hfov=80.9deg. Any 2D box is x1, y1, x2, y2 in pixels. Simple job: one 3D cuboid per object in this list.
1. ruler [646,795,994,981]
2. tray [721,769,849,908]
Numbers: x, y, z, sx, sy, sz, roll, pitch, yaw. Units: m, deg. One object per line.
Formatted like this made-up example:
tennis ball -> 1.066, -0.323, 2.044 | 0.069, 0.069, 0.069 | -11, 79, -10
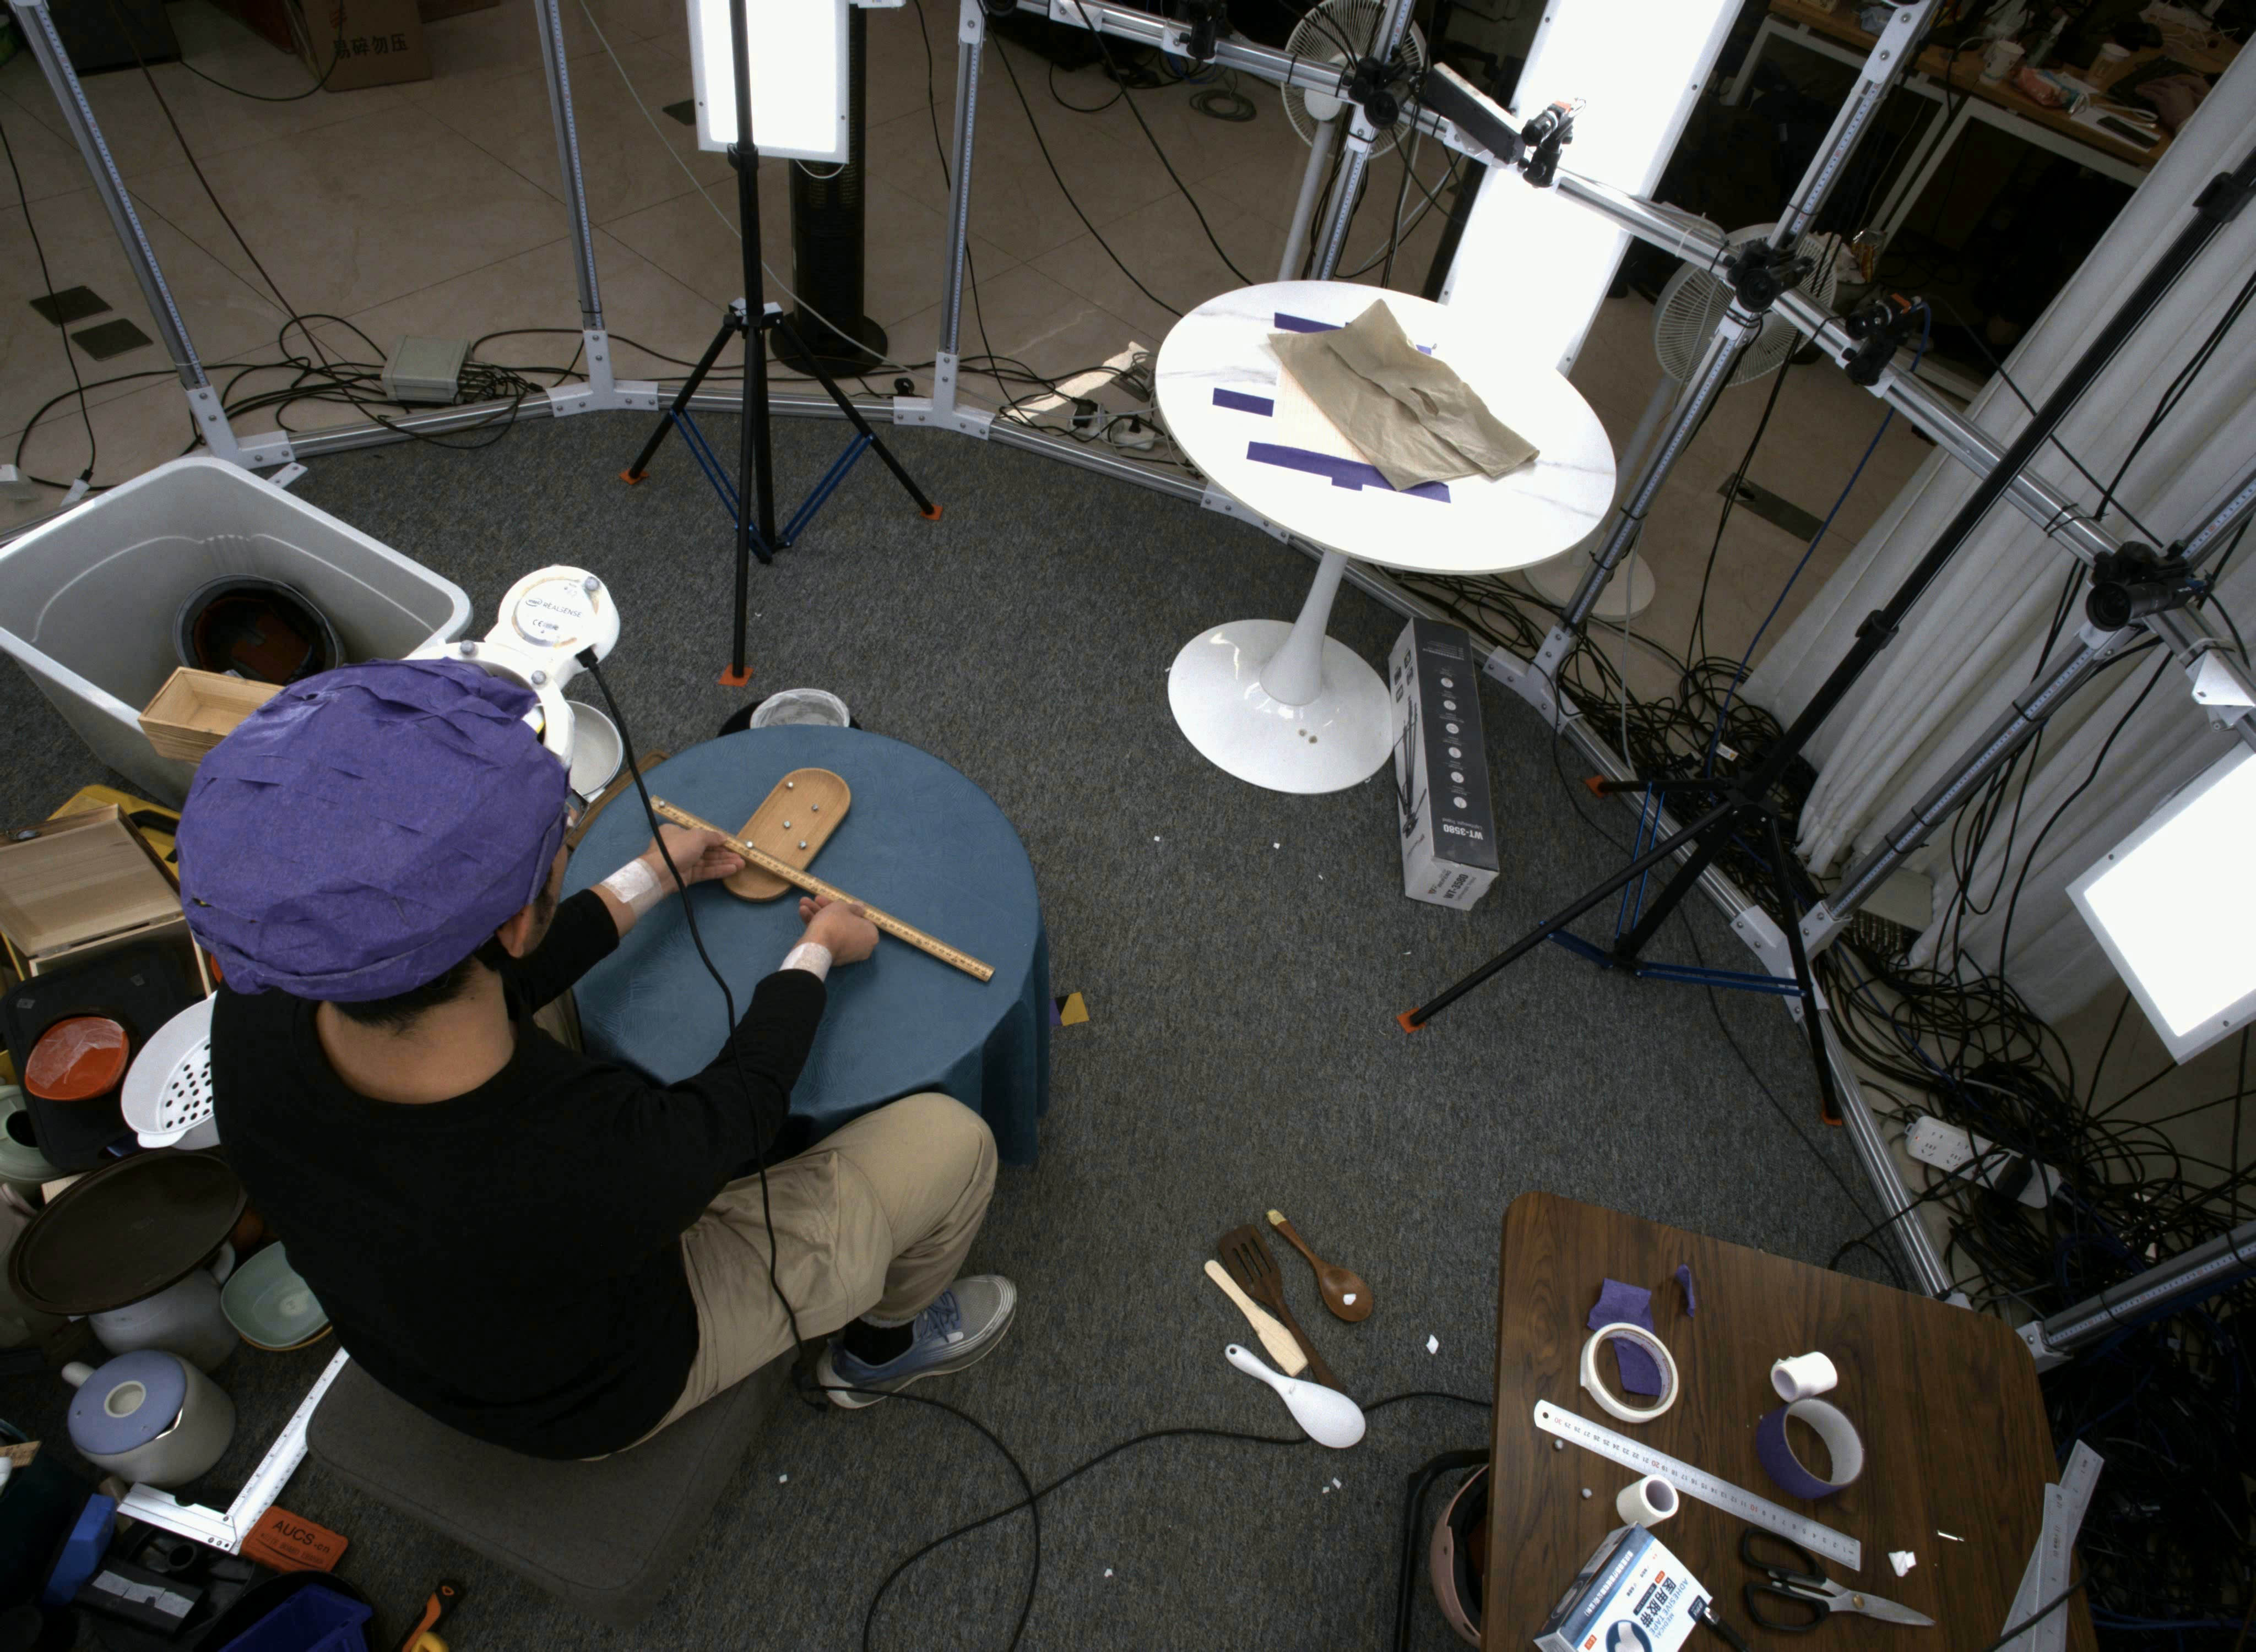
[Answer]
ruler -> -0.395, 0.076, 1.645 | 0.496, 0.006, 0.026 | 27, 38, 2
tray -> -0.446, 0.013, 1.693 | 0.100, 0.021, 0.229 | 22, 53, 4
